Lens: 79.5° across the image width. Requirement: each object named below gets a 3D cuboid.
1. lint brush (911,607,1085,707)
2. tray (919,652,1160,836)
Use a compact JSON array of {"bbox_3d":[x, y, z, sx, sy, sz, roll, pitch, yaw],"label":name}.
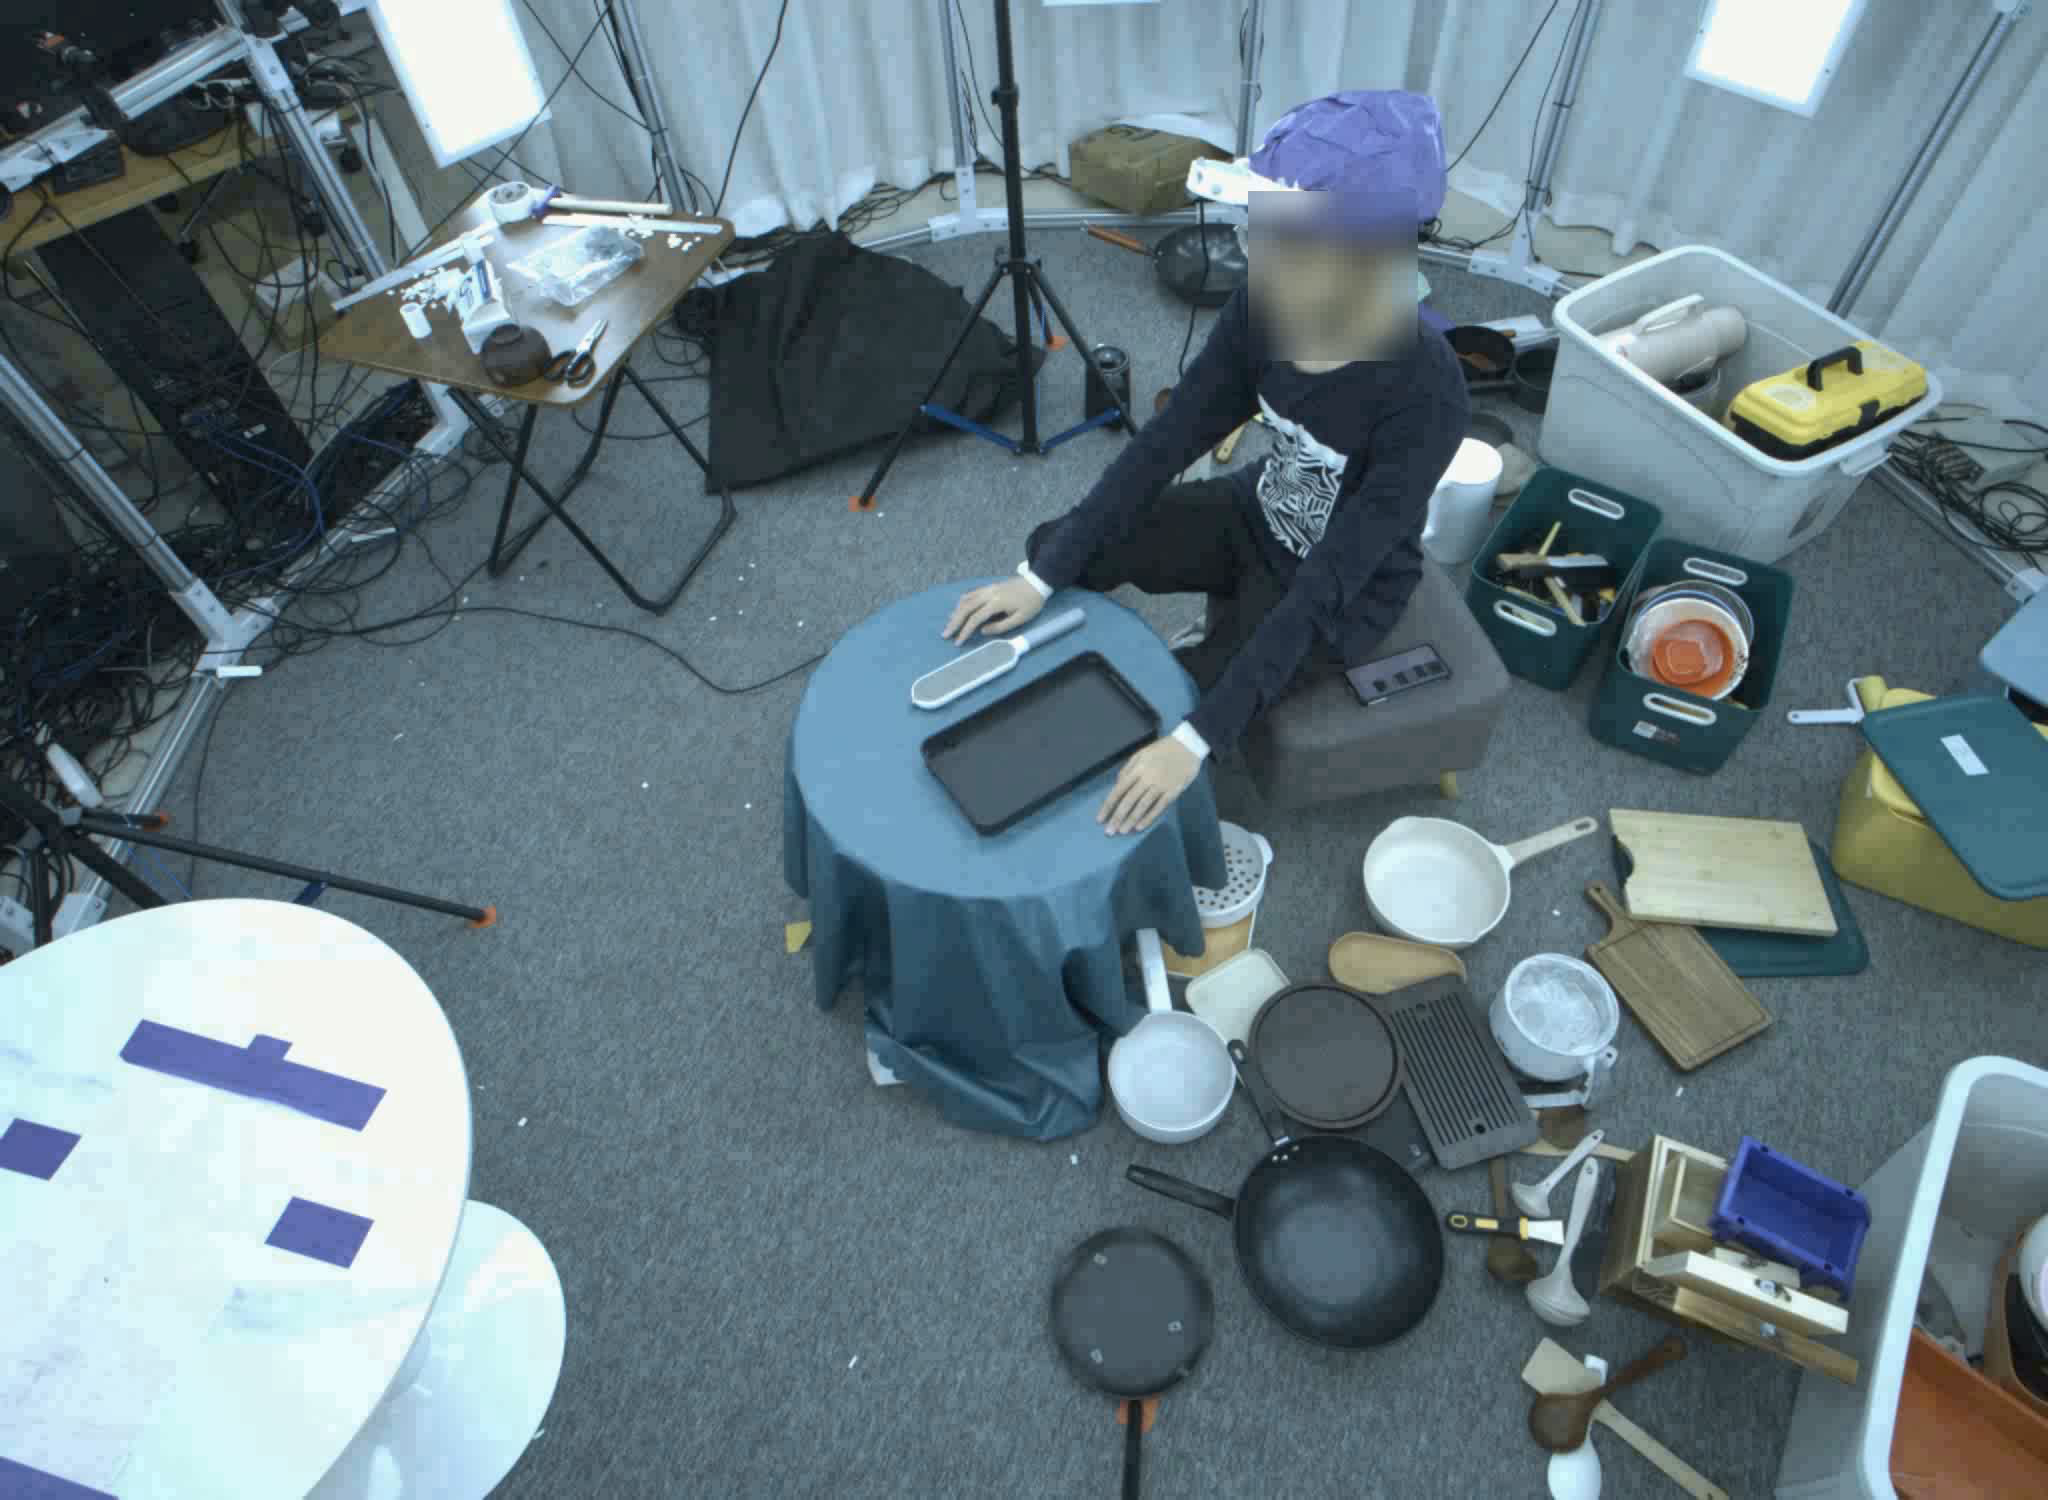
[{"bbox_3d":[-0.036,-0.147,1.884,0.311,0.021,0.059,-29,53,-18],"label":"lint brush"},{"bbox_3d":[0.024,-0.014,1.783,0.320,0.037,0.181,-29,59,-18],"label":"tray"}]
